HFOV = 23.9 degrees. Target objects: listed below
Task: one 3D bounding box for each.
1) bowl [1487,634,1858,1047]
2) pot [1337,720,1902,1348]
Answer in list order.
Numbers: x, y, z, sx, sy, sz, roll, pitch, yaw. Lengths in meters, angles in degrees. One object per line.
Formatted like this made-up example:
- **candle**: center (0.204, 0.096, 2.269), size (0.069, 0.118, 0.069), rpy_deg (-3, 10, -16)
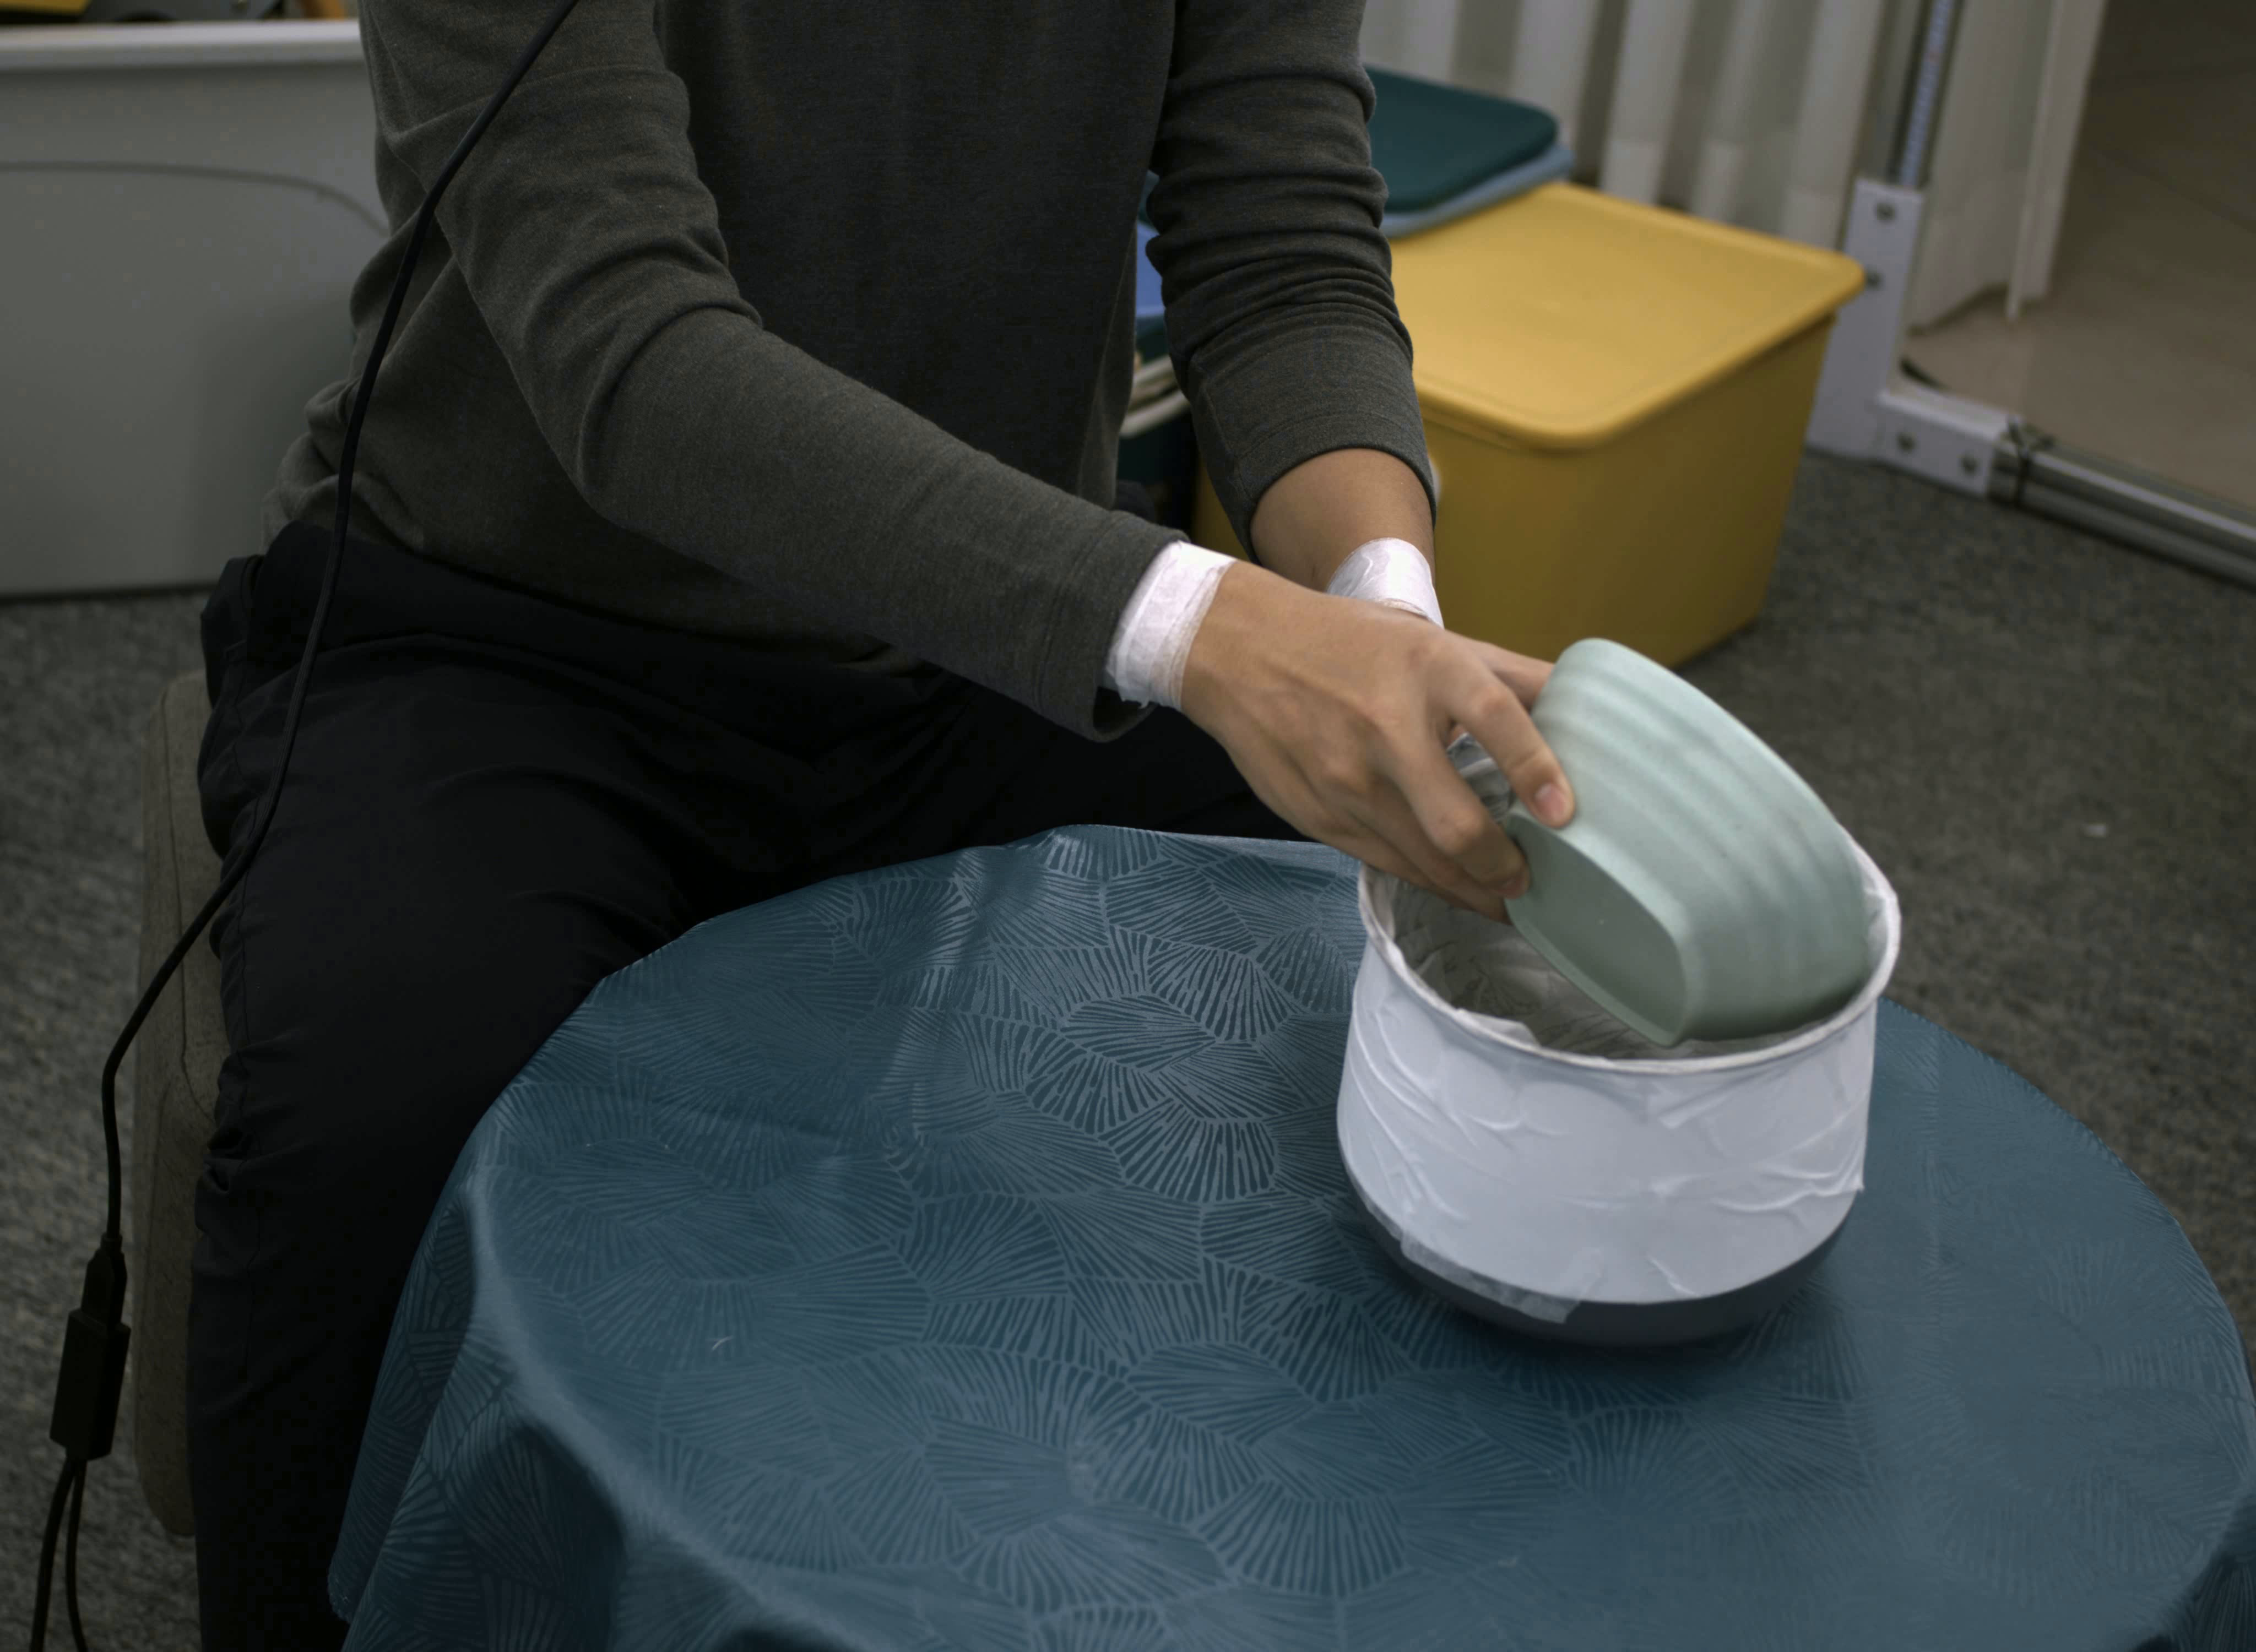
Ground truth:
- **bowl**: center (0.165, 0.016, 1.712), size (0.058, 0.150, 0.153), rpy_deg (-38, 45, -19)
- **pot**: center (0.148, 0.060, 1.784), size (0.178, 0.136, 0.236), rpy_deg (-12, 38, -21)
